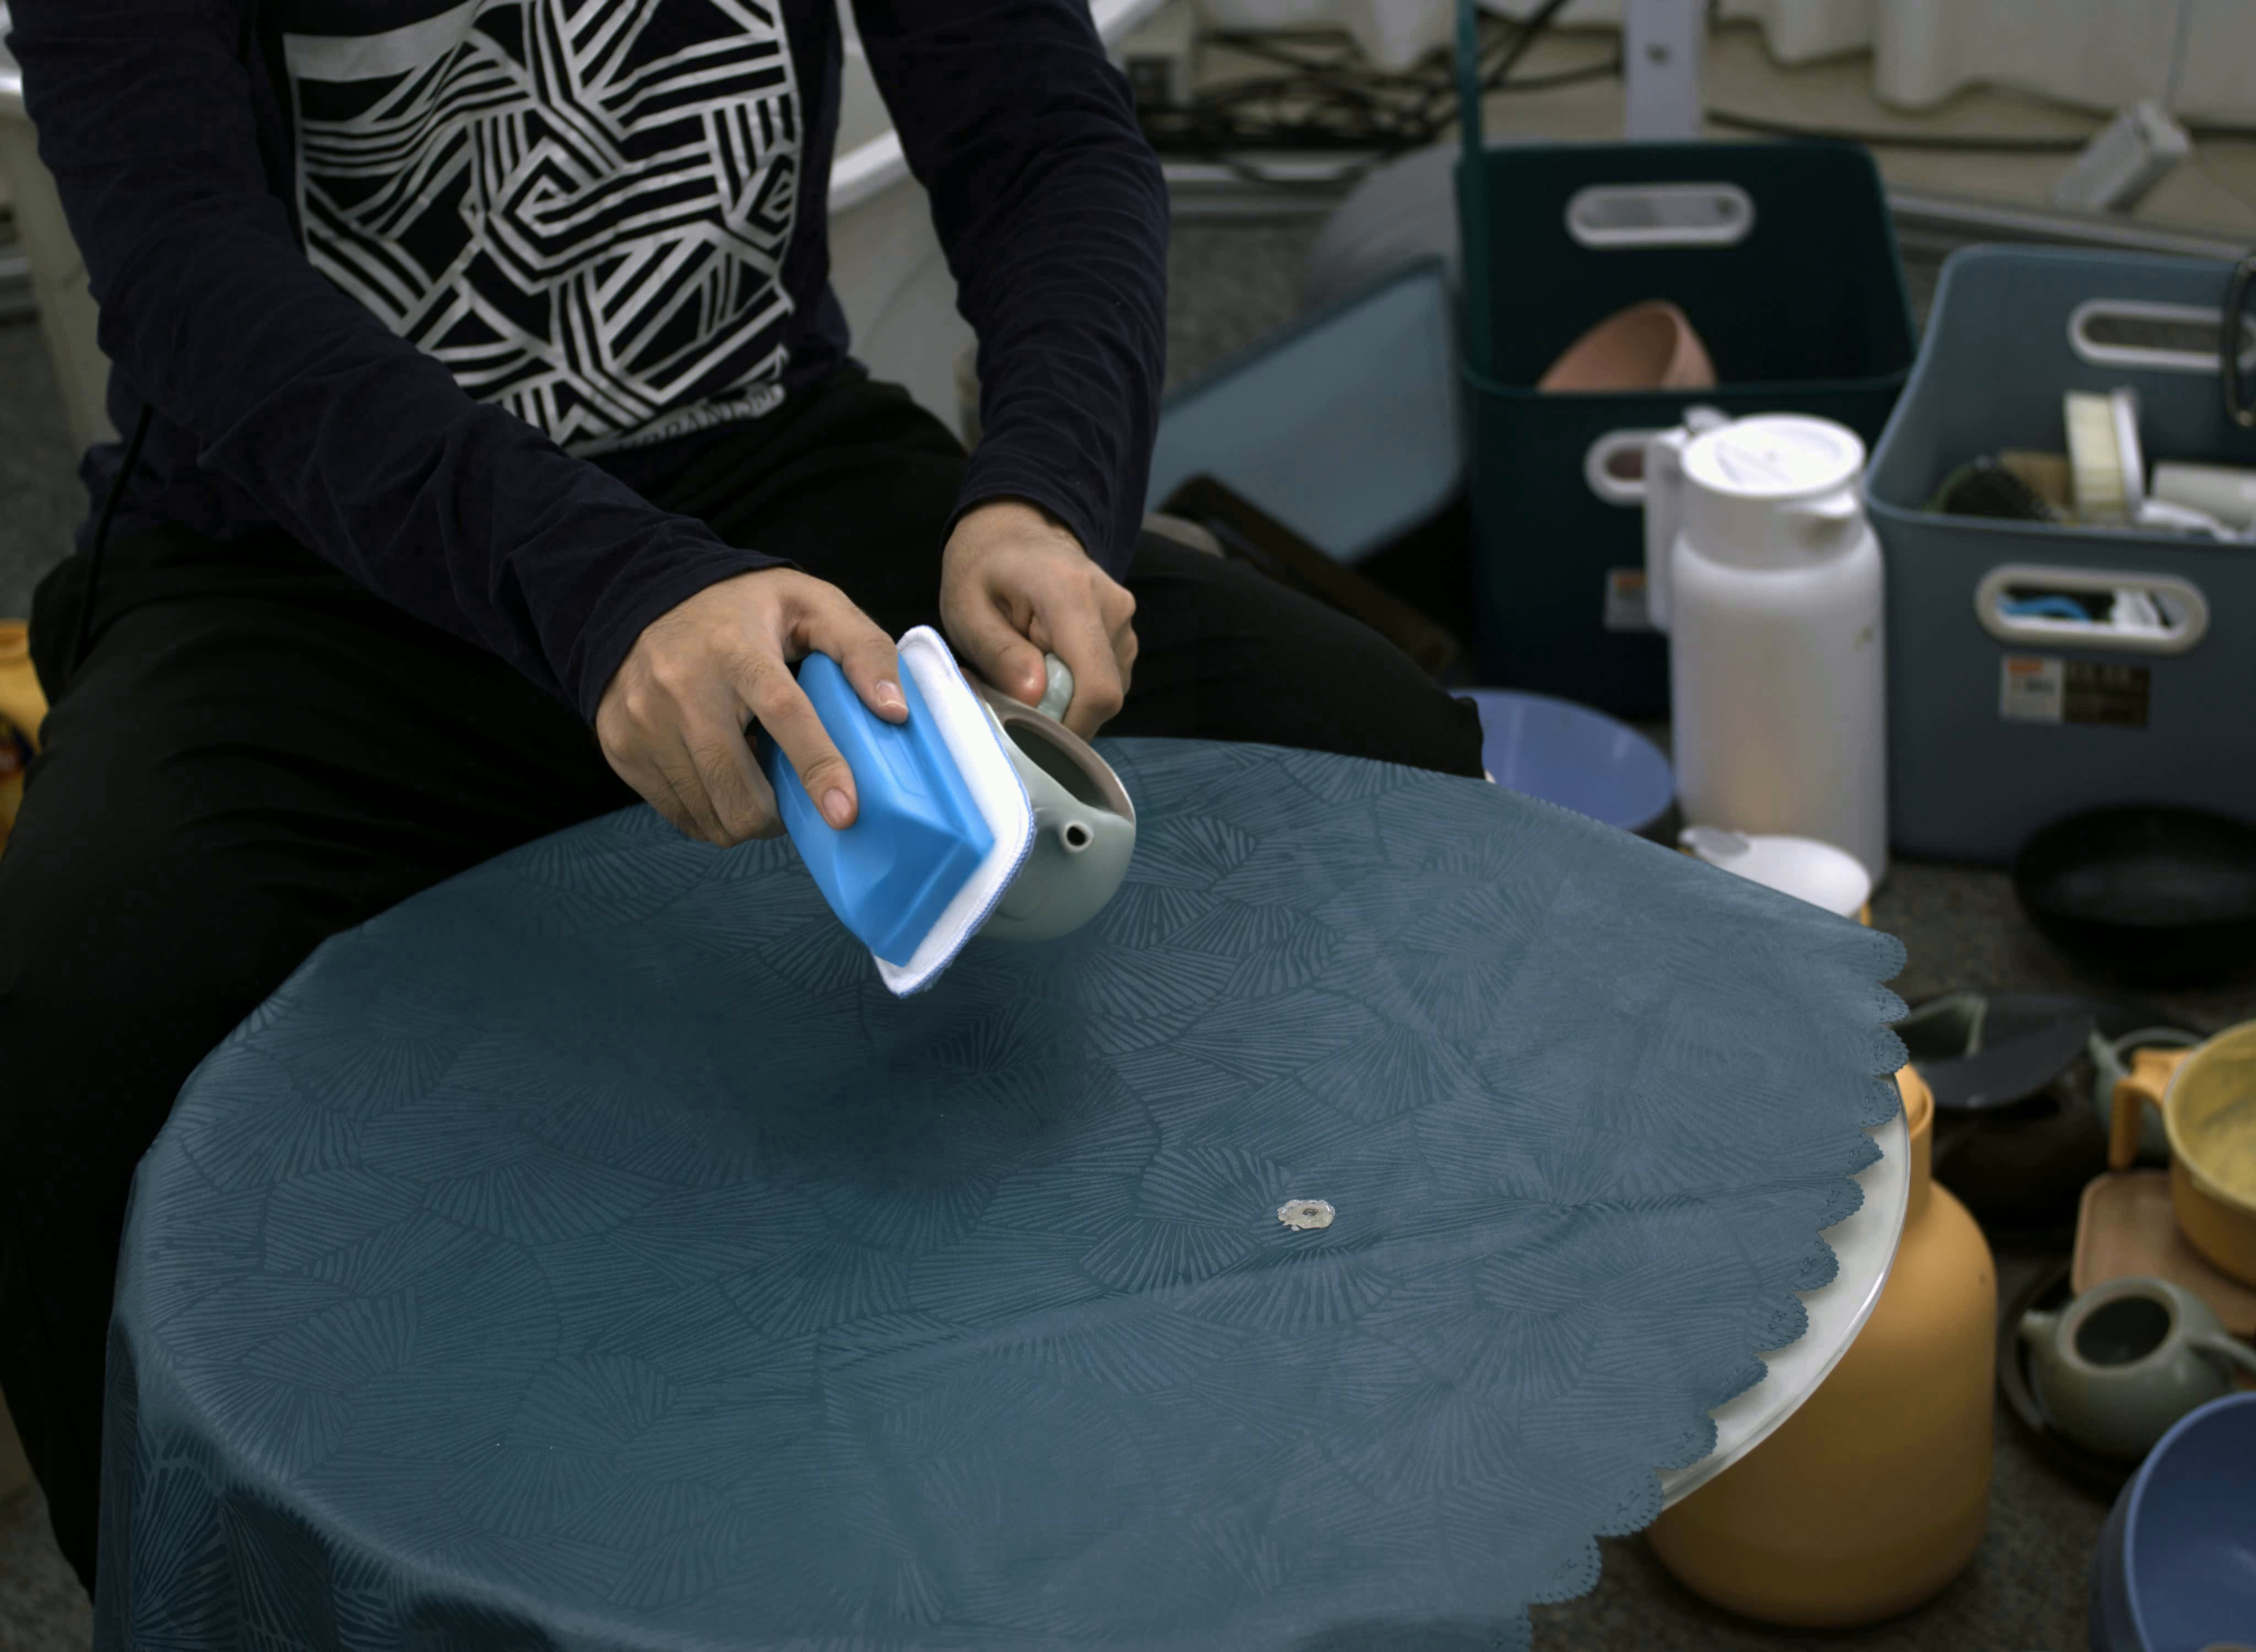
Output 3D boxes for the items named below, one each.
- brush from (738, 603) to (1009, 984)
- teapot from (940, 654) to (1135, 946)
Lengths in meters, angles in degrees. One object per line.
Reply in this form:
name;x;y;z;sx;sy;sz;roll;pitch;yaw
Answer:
brush;-0.092;-0.016;1.865;0.055;0.083;0.146;29;21;-35
teapot;-0.040;-0.002;1.914;0.088;0.074;0.146;34;21;-15
